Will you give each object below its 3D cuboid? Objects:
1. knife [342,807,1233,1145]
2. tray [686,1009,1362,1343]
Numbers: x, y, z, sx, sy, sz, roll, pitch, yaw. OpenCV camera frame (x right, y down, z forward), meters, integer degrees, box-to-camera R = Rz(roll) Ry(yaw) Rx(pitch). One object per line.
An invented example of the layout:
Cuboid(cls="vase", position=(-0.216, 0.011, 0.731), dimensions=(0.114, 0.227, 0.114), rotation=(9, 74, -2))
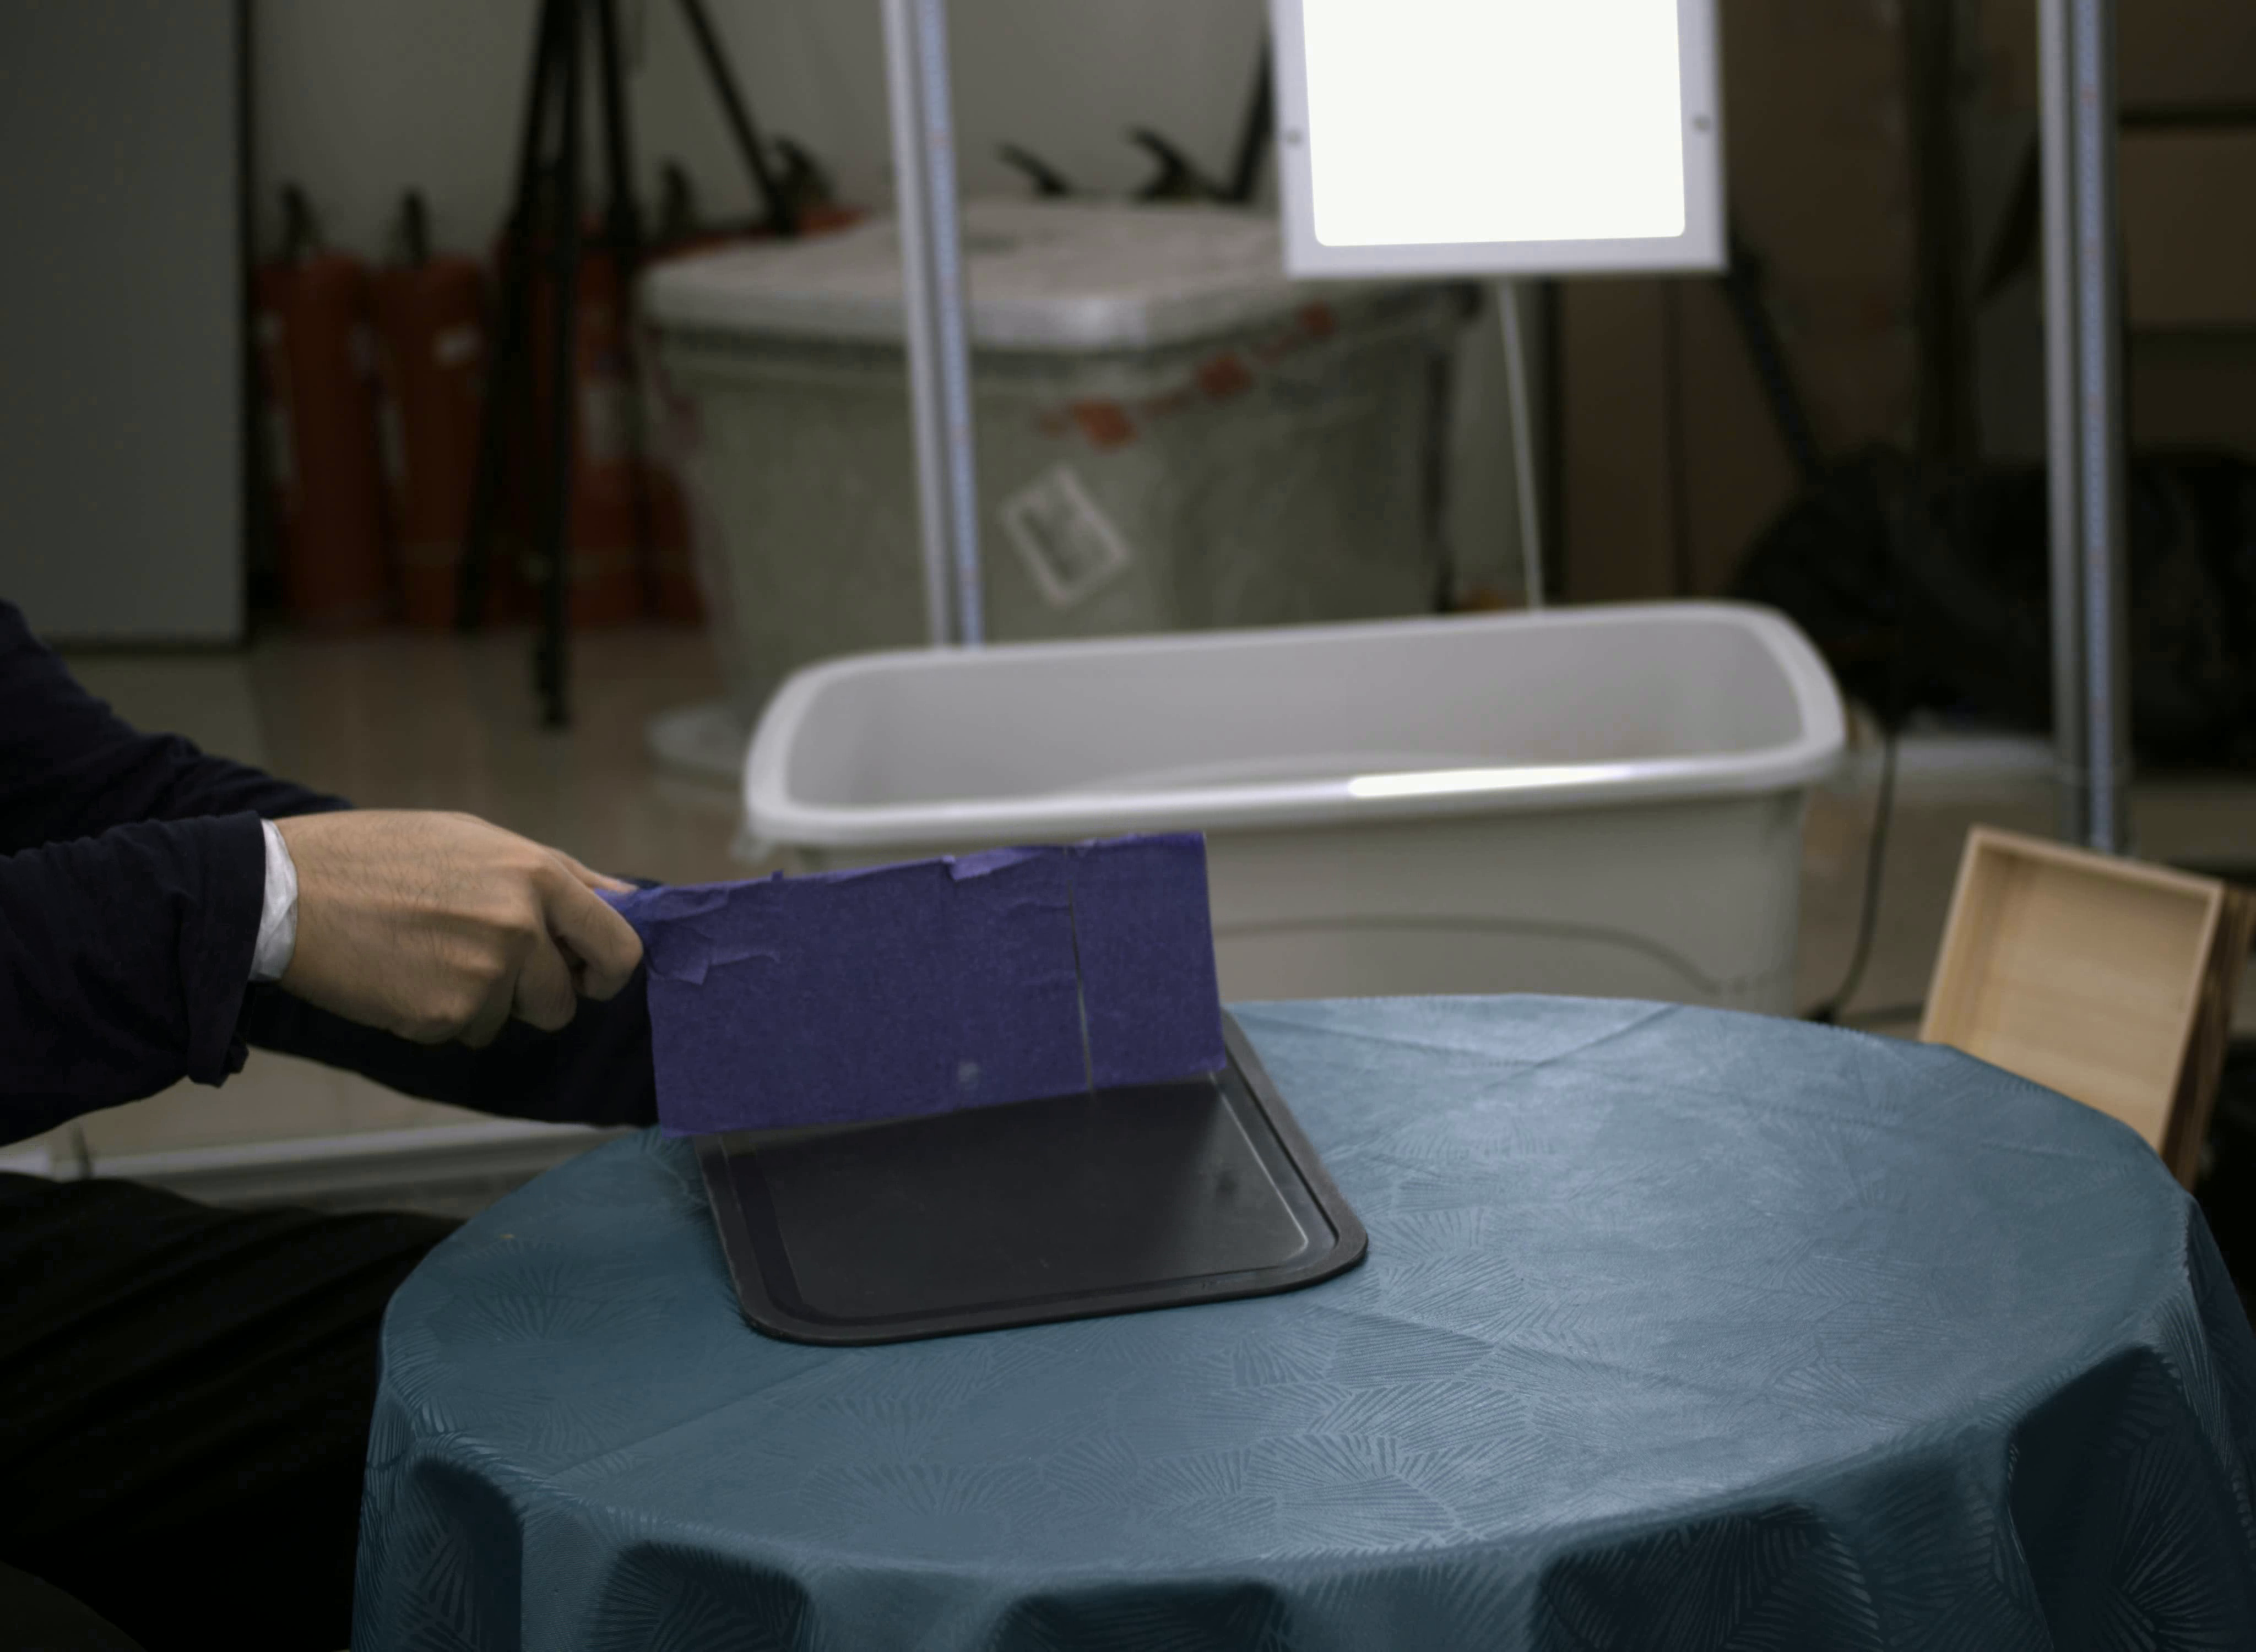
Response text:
Cuboid(cls="knife", position=(-0.115, 0.062, 1.937), dimensions=(0.312, 0.104, 0.032), rotation=(-7, 7, -9))
Cuboid(cls="tray", position=(-0.045, 0.111, 1.927), dimensions=(0.209, 0.010, 0.327), rotation=(-6, 18, -7))
